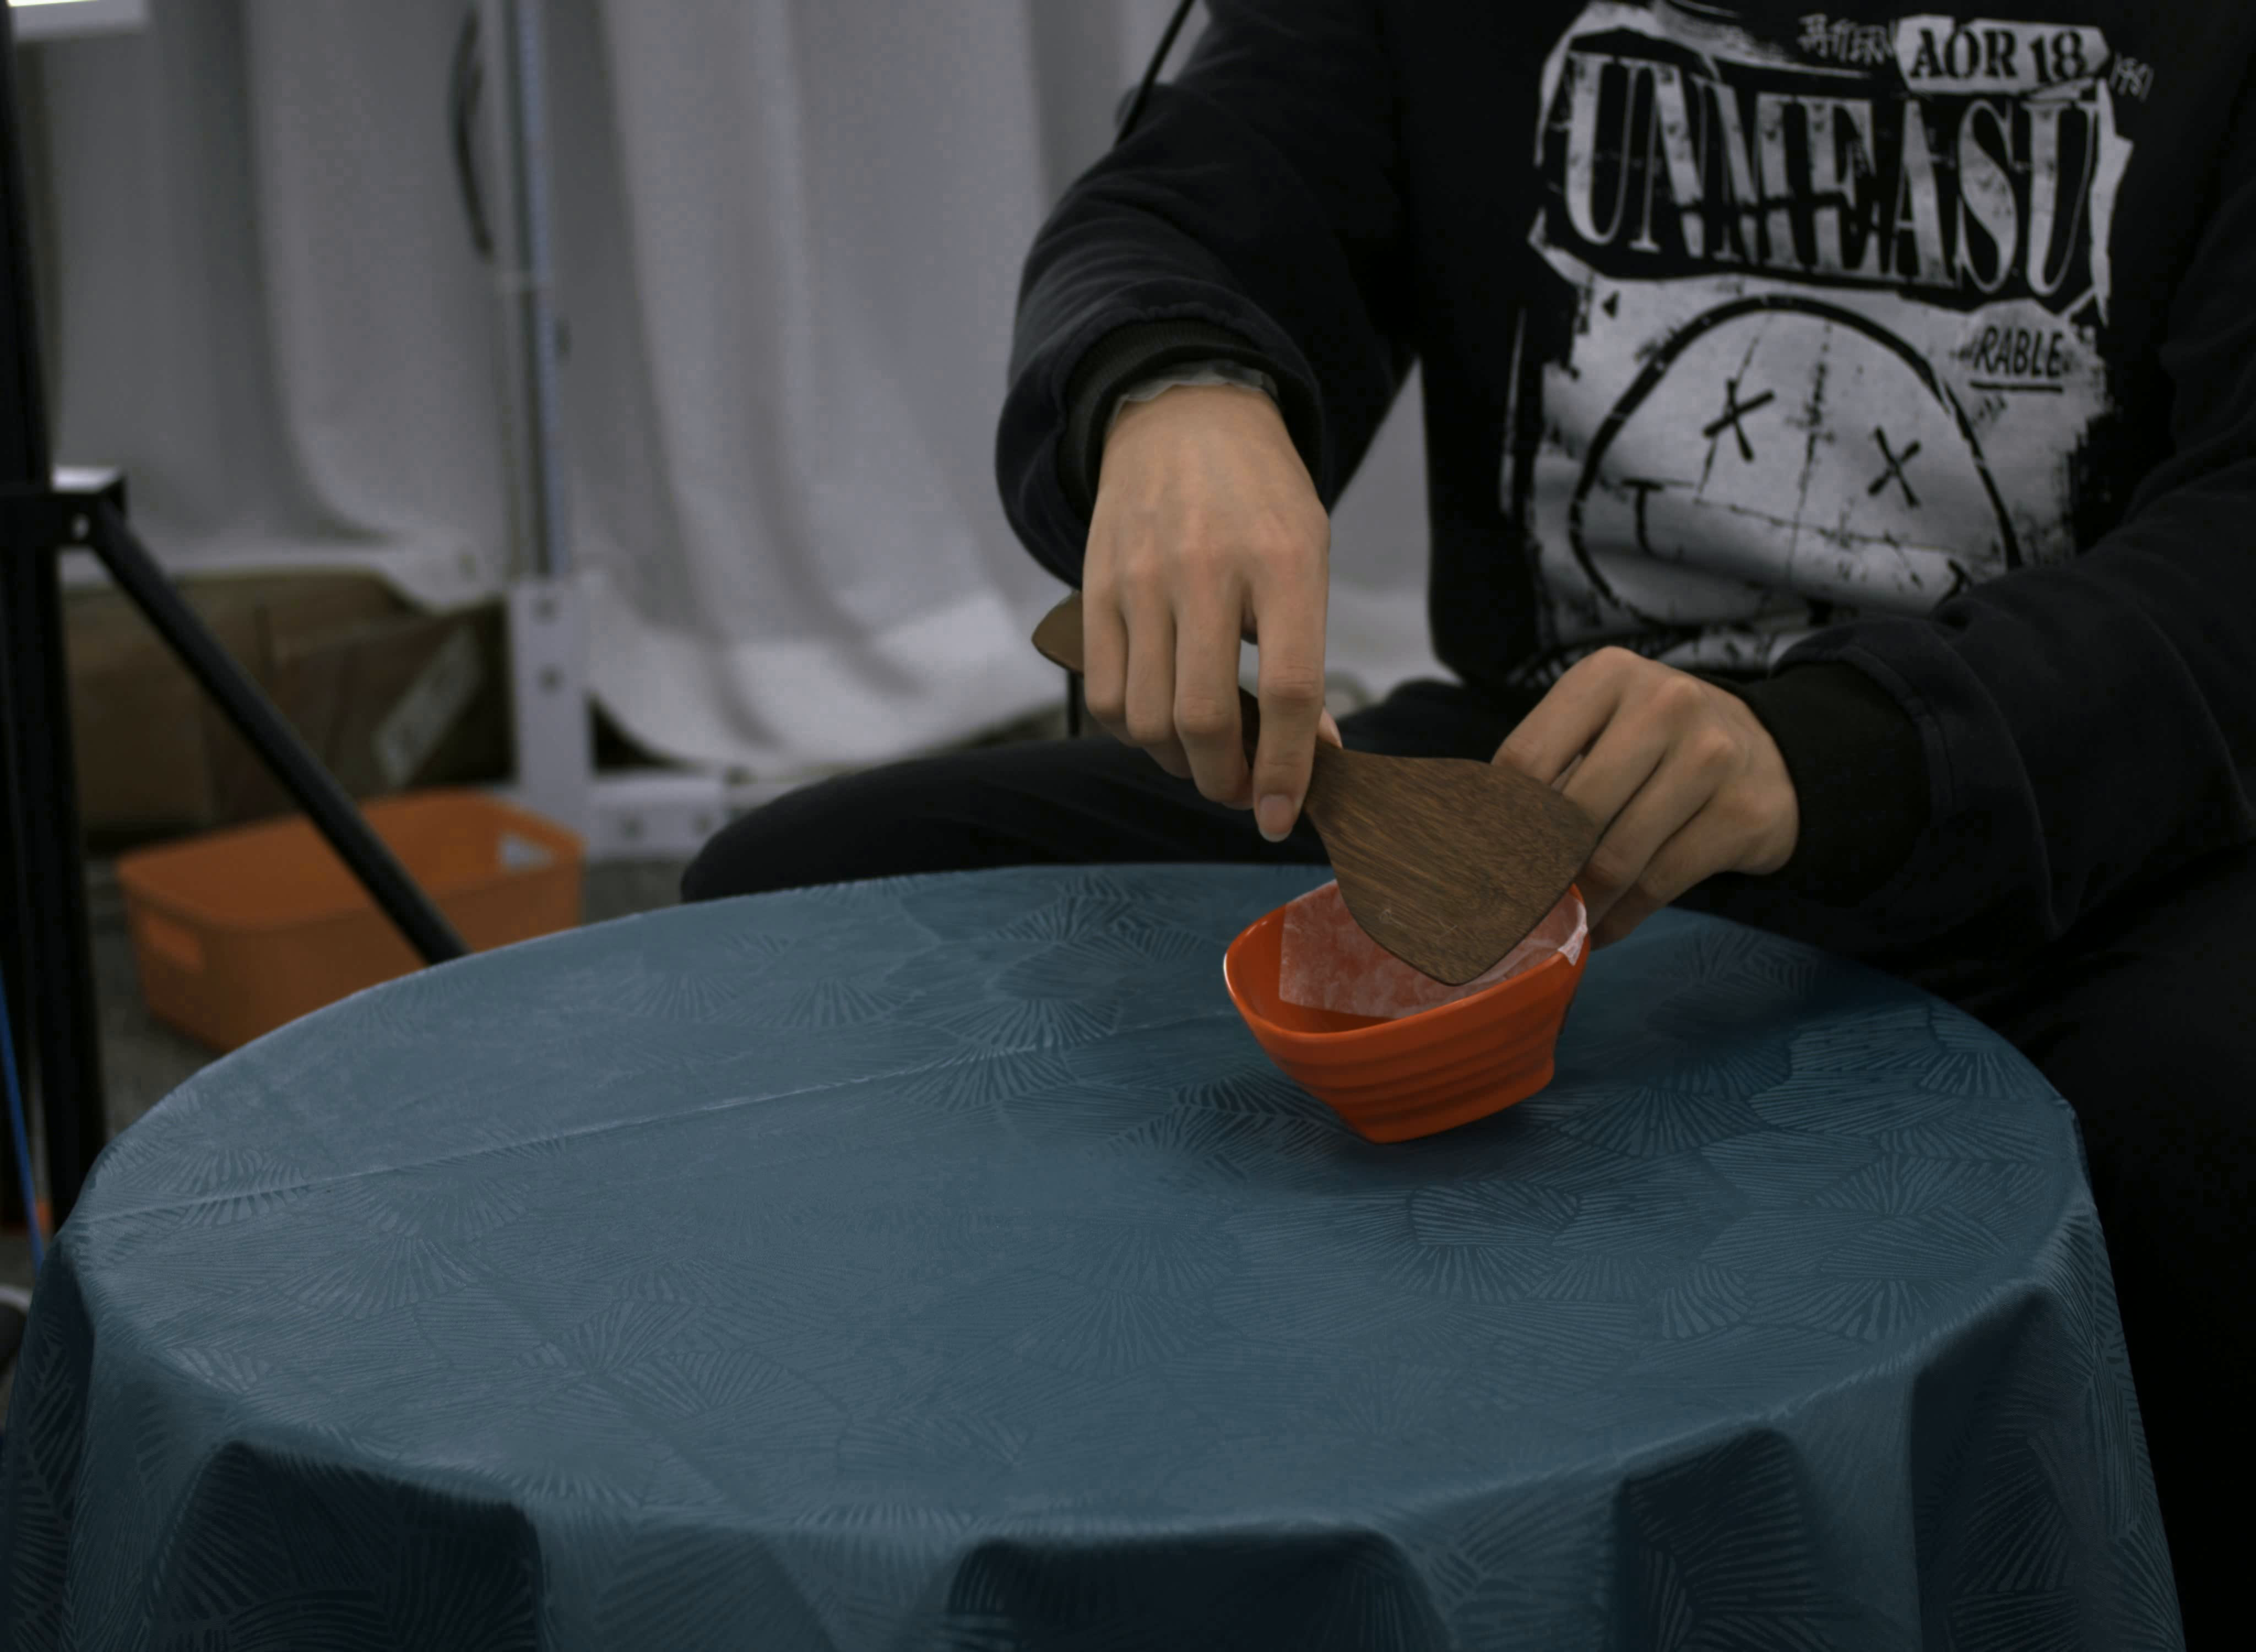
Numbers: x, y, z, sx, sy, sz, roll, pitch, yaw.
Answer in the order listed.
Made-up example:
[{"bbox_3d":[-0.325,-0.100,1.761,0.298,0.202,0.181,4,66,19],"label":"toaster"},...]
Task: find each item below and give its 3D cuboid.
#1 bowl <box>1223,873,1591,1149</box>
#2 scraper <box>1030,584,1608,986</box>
[{"bbox_3d":[0.090,0.056,1.606,0.119,0.051,0.120,-16,23,5],"label":"bowl"},{"bbox_3d":[0.050,-0.021,1.620,0.216,0.010,0.075,33,70,34],"label":"scraper"}]
